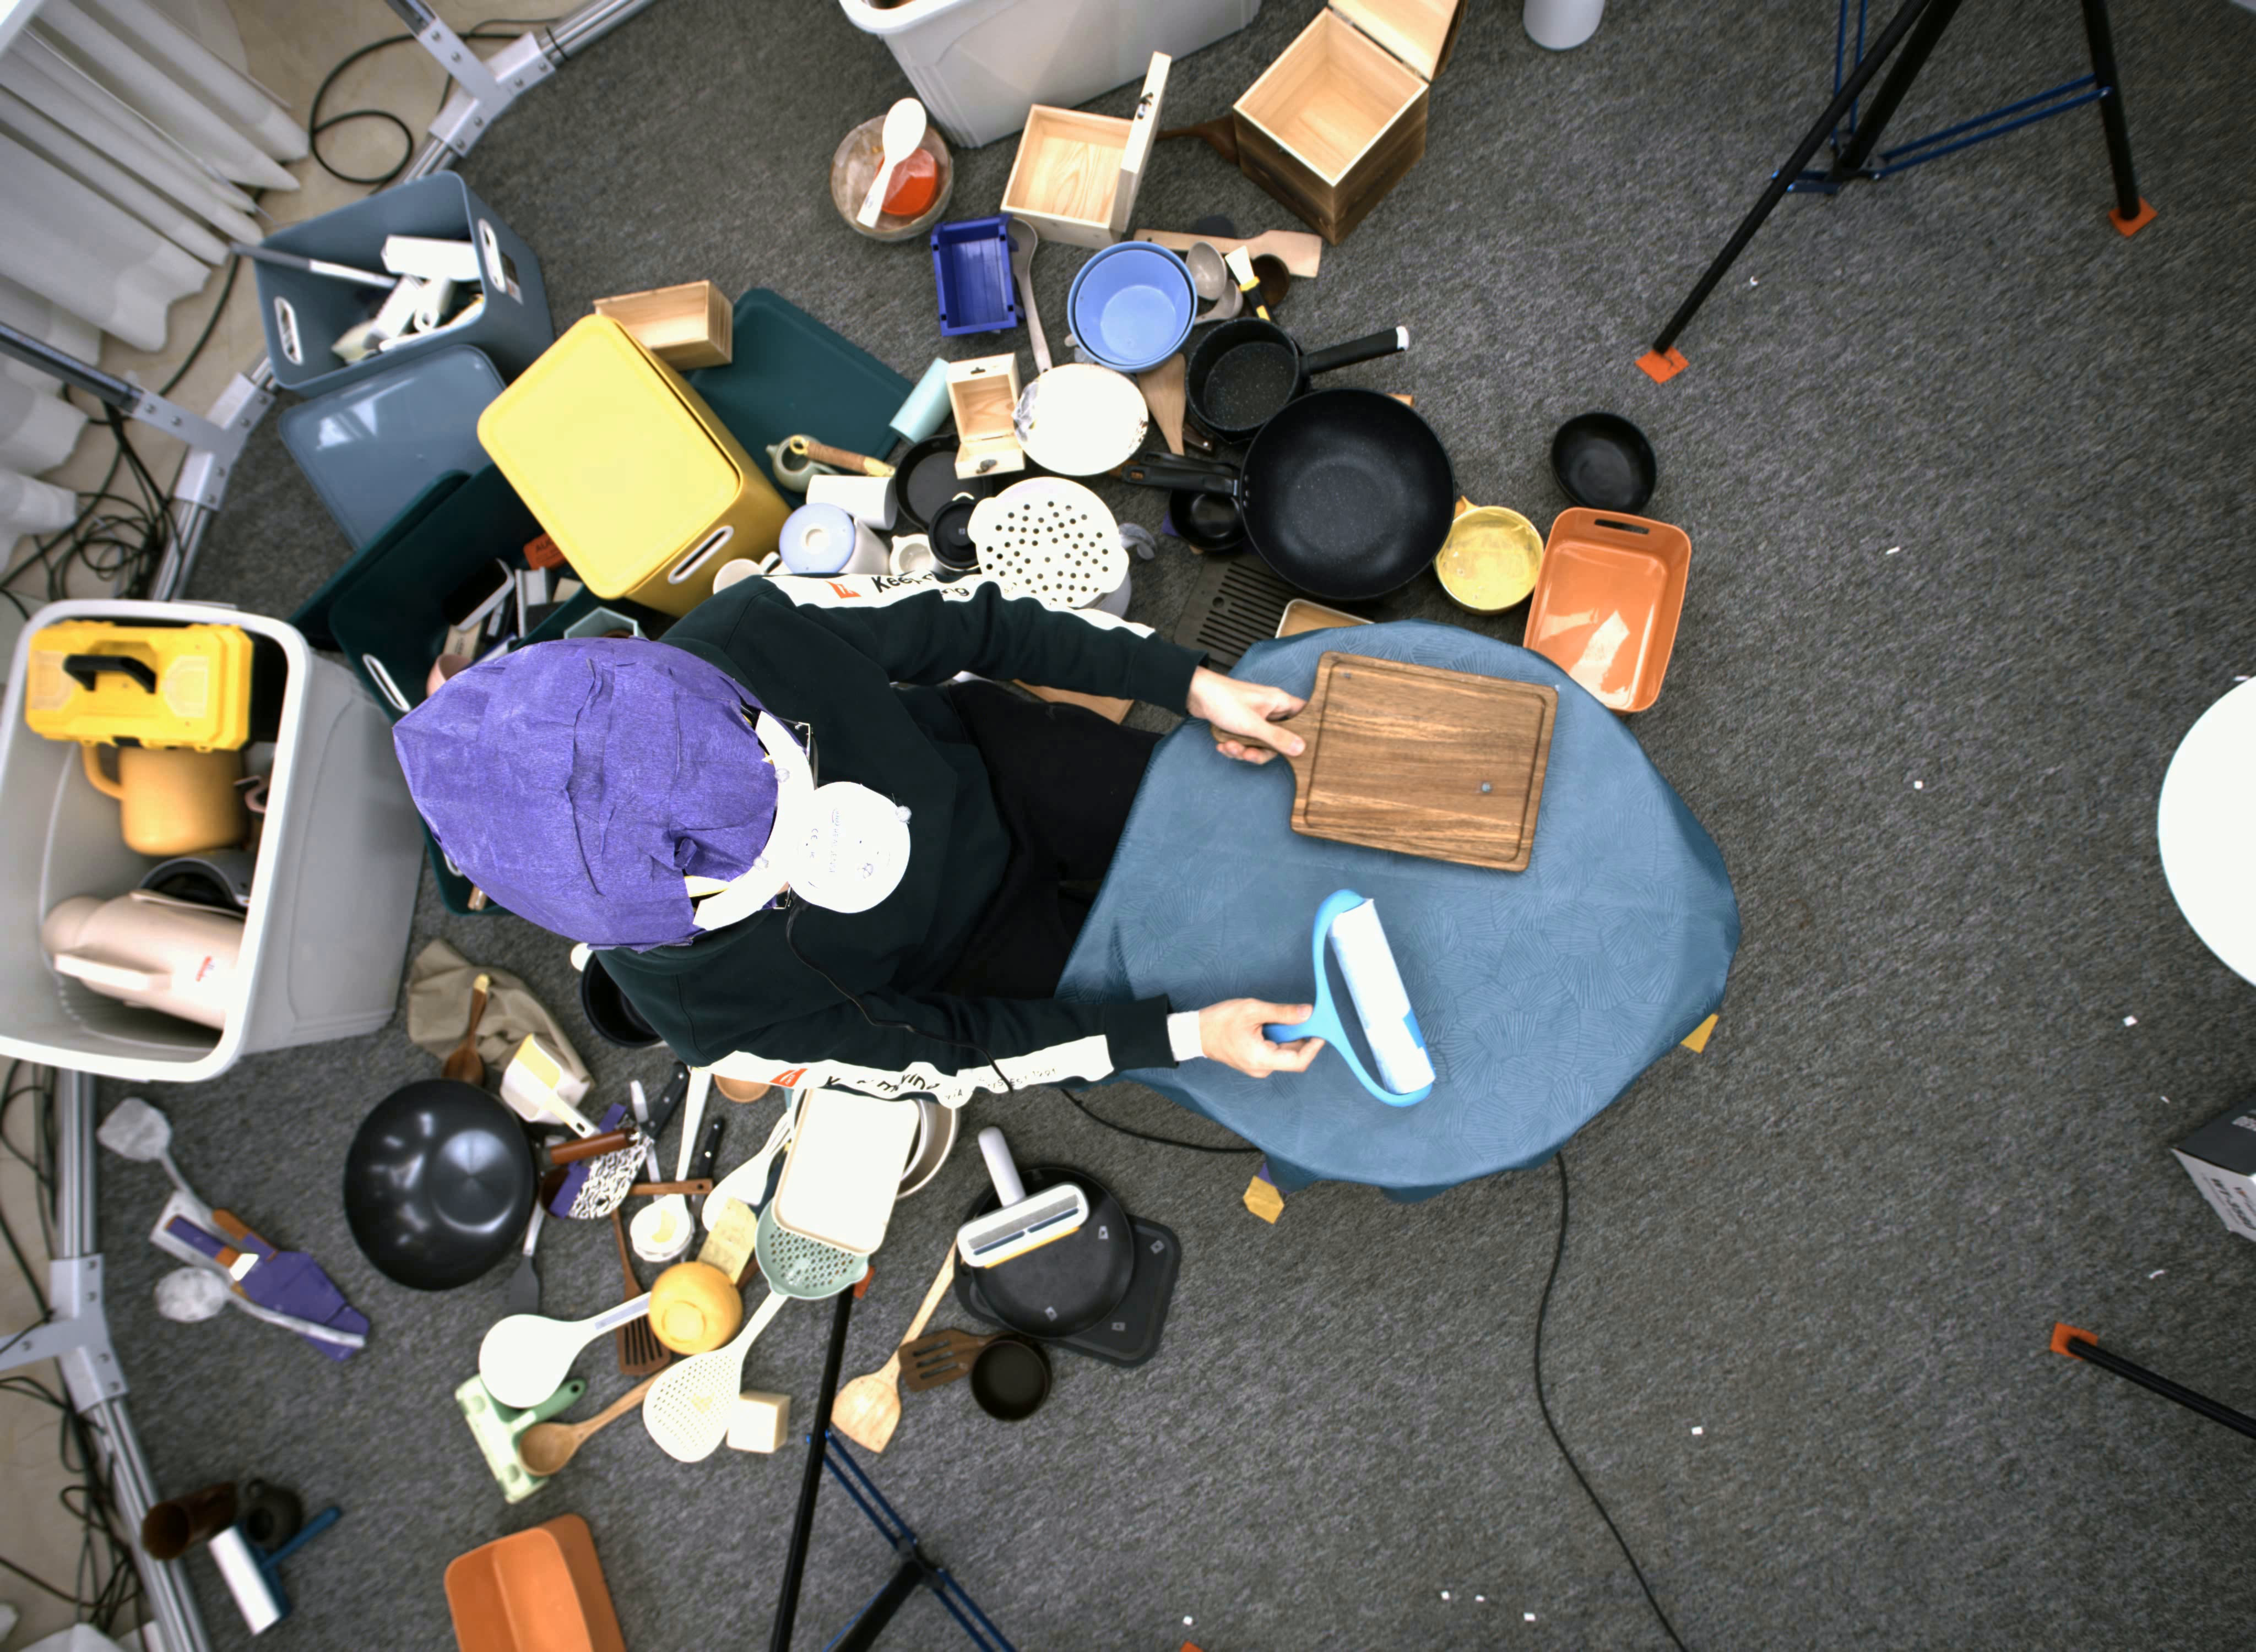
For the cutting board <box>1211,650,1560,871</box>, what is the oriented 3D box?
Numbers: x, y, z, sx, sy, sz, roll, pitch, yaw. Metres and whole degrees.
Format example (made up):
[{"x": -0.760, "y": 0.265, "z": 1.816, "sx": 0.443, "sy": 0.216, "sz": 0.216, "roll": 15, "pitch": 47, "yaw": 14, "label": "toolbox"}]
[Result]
[{"x": 0.261, "y": -0.078, "z": 1.433, "sx": 0.353, "sy": 0.023, "sz": 0.201, "roll": 9, "pitch": 92, "yaw": 6, "label": "cutting board"}]

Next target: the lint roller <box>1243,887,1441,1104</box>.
[{"x": 0.202, "y": 0.191, "z": 1.401, "sx": 0.181, "sy": 0.067, "sz": 0.230, "roll": -23, "pitch": 96, "yaw": 10, "label": "lint roller"}]
